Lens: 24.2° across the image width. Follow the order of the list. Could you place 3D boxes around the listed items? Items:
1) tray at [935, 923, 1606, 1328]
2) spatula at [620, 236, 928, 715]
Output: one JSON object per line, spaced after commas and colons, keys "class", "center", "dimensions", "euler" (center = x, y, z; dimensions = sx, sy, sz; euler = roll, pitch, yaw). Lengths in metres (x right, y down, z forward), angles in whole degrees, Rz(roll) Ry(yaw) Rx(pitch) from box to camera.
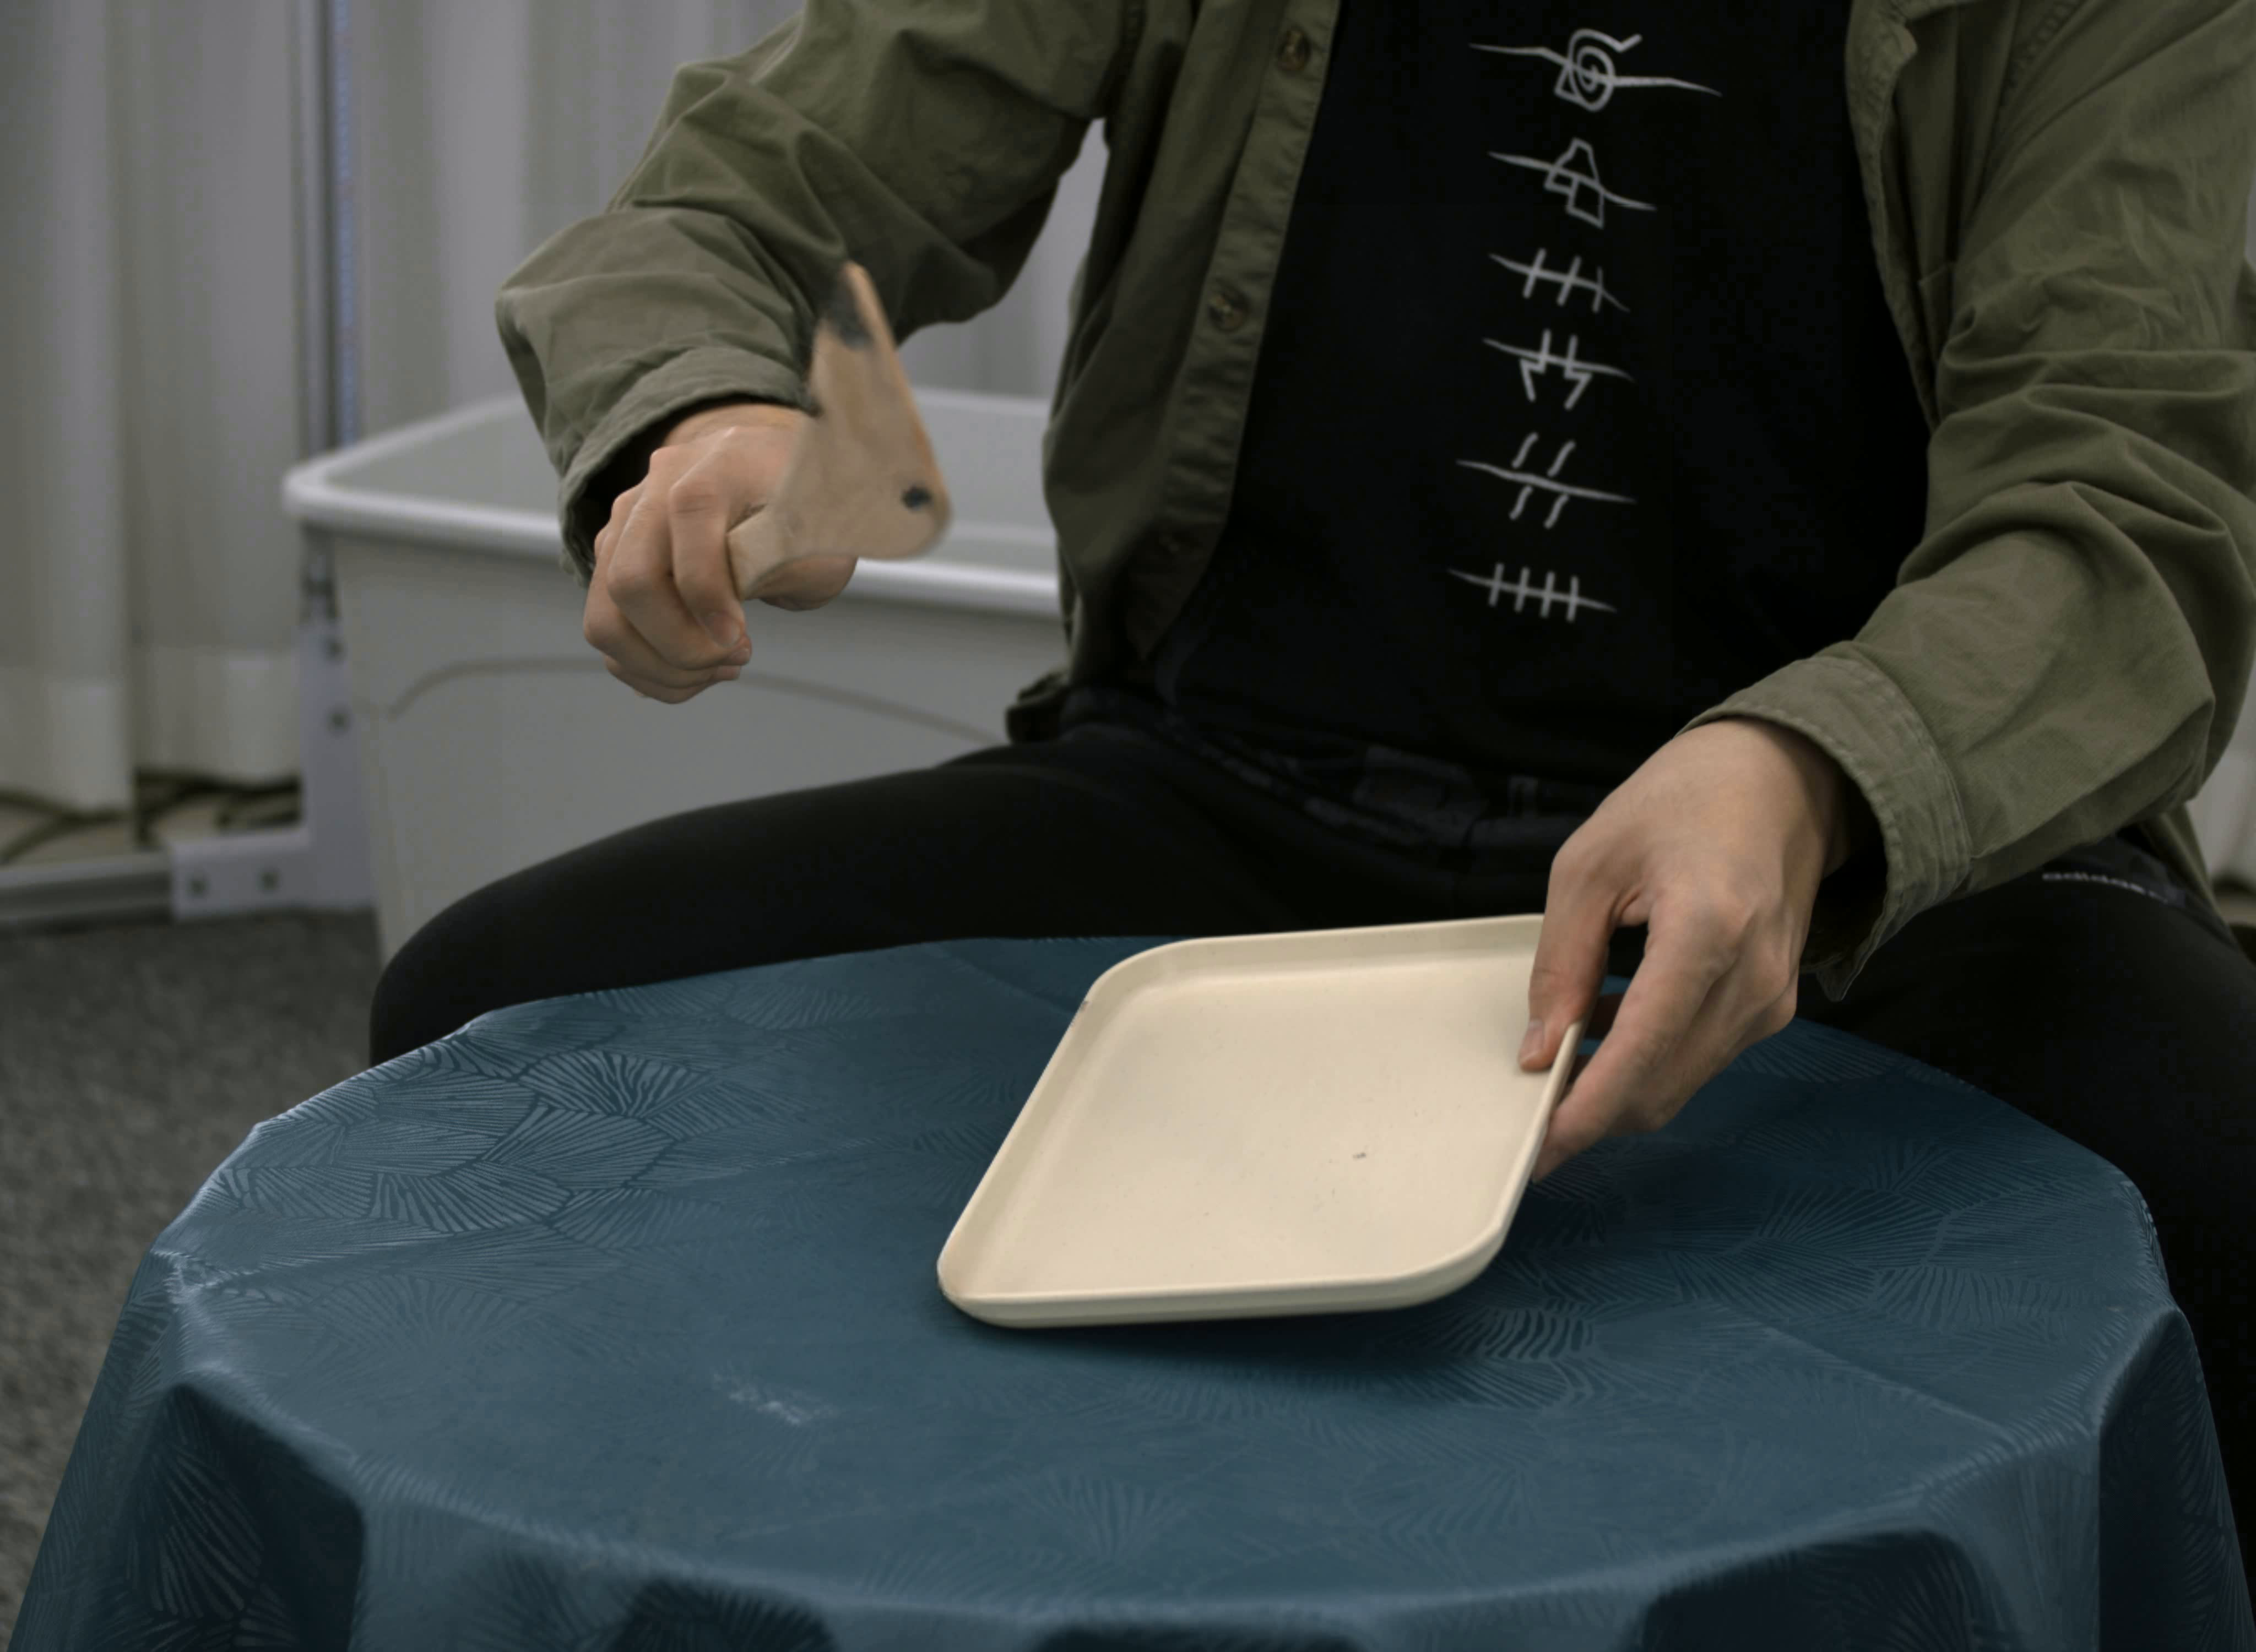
{"class": "tray", "center": [0.048, 0.089, 1.588], "dimensions": [0.170, 0.017, 0.239], "euler": [-3, 23, 17]}
{"class": "spatula", "center": [-0.114, -0.089, 1.575], "dimensions": [0.016, 0.080, 0.327], "euler": [-16, -9, -23]}
